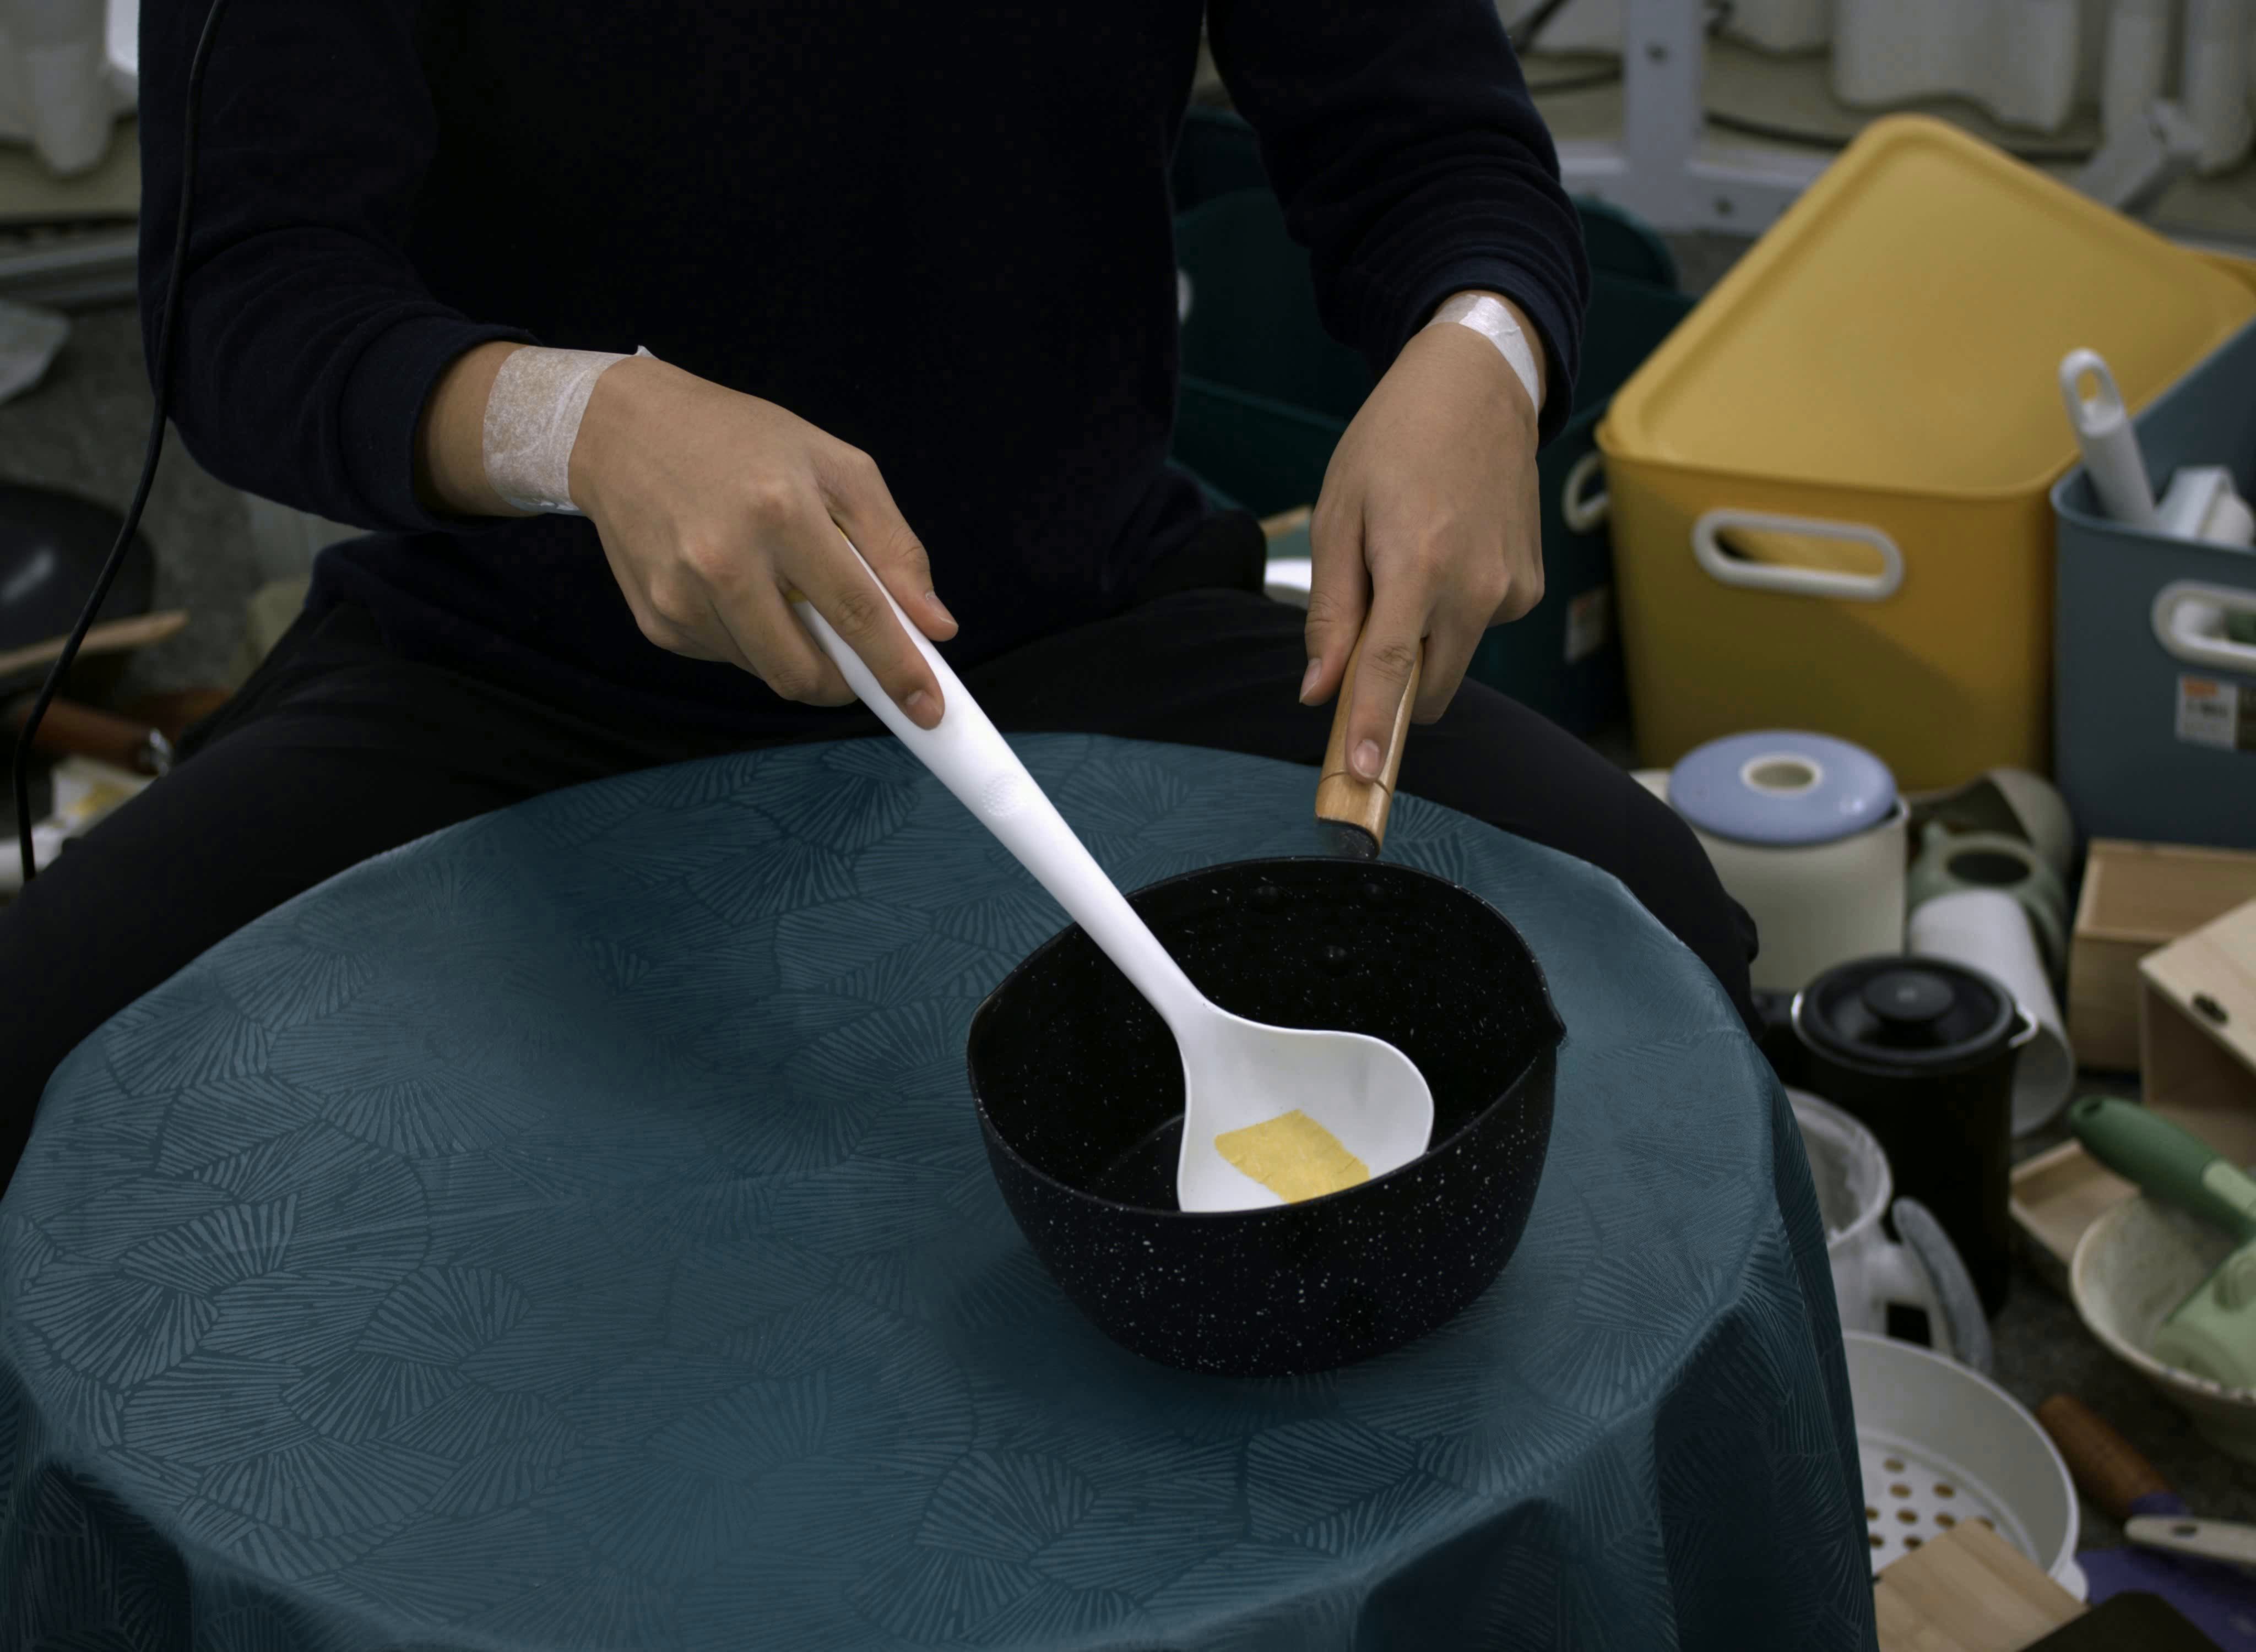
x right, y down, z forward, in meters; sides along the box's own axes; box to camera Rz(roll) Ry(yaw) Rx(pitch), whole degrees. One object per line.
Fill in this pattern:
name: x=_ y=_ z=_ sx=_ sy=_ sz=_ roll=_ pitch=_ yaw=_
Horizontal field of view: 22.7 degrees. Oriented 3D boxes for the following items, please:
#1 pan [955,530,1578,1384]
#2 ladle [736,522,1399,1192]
pan: x=0.063 y=0.040 z=1.851 sx=0.206 sy=0.107 sz=0.350 roll=-1 pitch=36 yaw=16
ladle: x=-0.025 y=0.022 z=1.808 sx=0.090 sy=0.293 sz=0.070 roll=-40 pitch=-3 yaw=7
